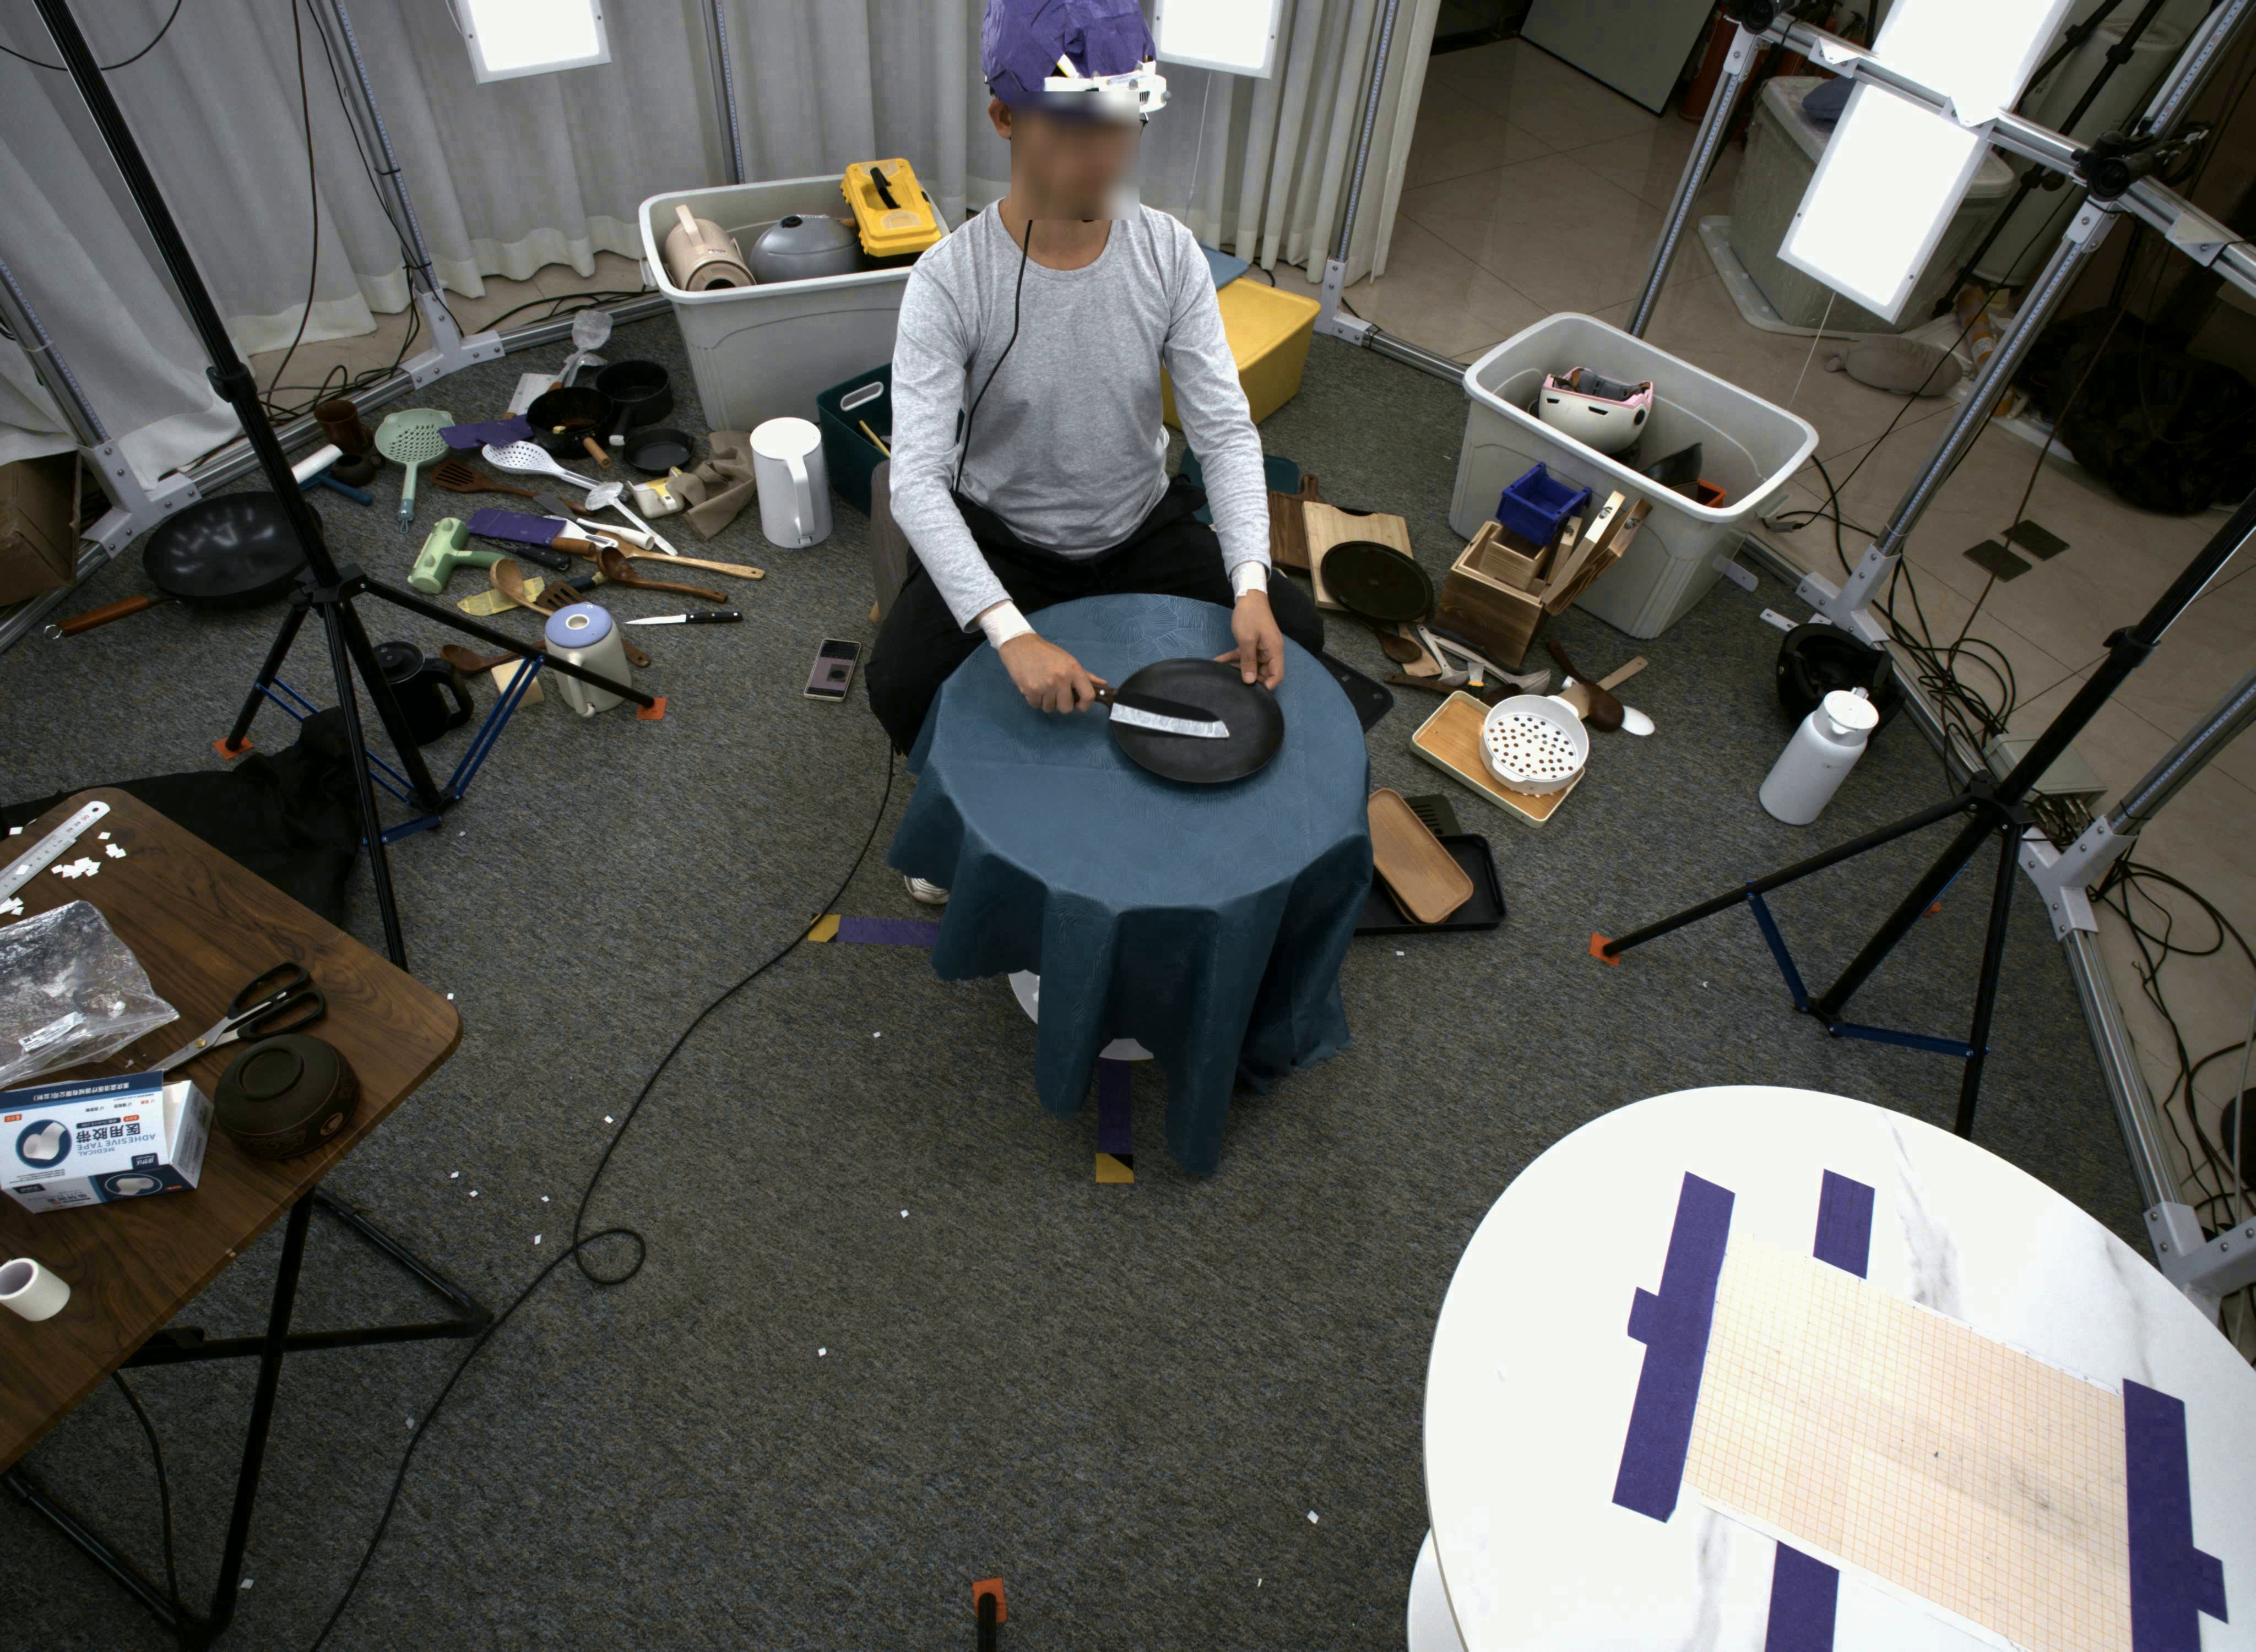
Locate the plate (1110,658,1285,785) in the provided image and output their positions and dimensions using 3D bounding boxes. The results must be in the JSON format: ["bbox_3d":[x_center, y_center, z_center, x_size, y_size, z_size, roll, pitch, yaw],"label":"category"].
[{"bbox_3d":[0.096,-0.144,1.784,0.244,0.023,0.250,2,49,-2],"label":"plate"}]

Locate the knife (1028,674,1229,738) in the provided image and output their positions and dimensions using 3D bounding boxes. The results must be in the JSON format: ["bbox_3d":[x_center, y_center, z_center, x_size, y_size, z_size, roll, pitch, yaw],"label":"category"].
[{"bbox_3d":[0.001,-0.164,1.765,0.289,0.020,0.050,15,86,-2],"label":"knife"}]
